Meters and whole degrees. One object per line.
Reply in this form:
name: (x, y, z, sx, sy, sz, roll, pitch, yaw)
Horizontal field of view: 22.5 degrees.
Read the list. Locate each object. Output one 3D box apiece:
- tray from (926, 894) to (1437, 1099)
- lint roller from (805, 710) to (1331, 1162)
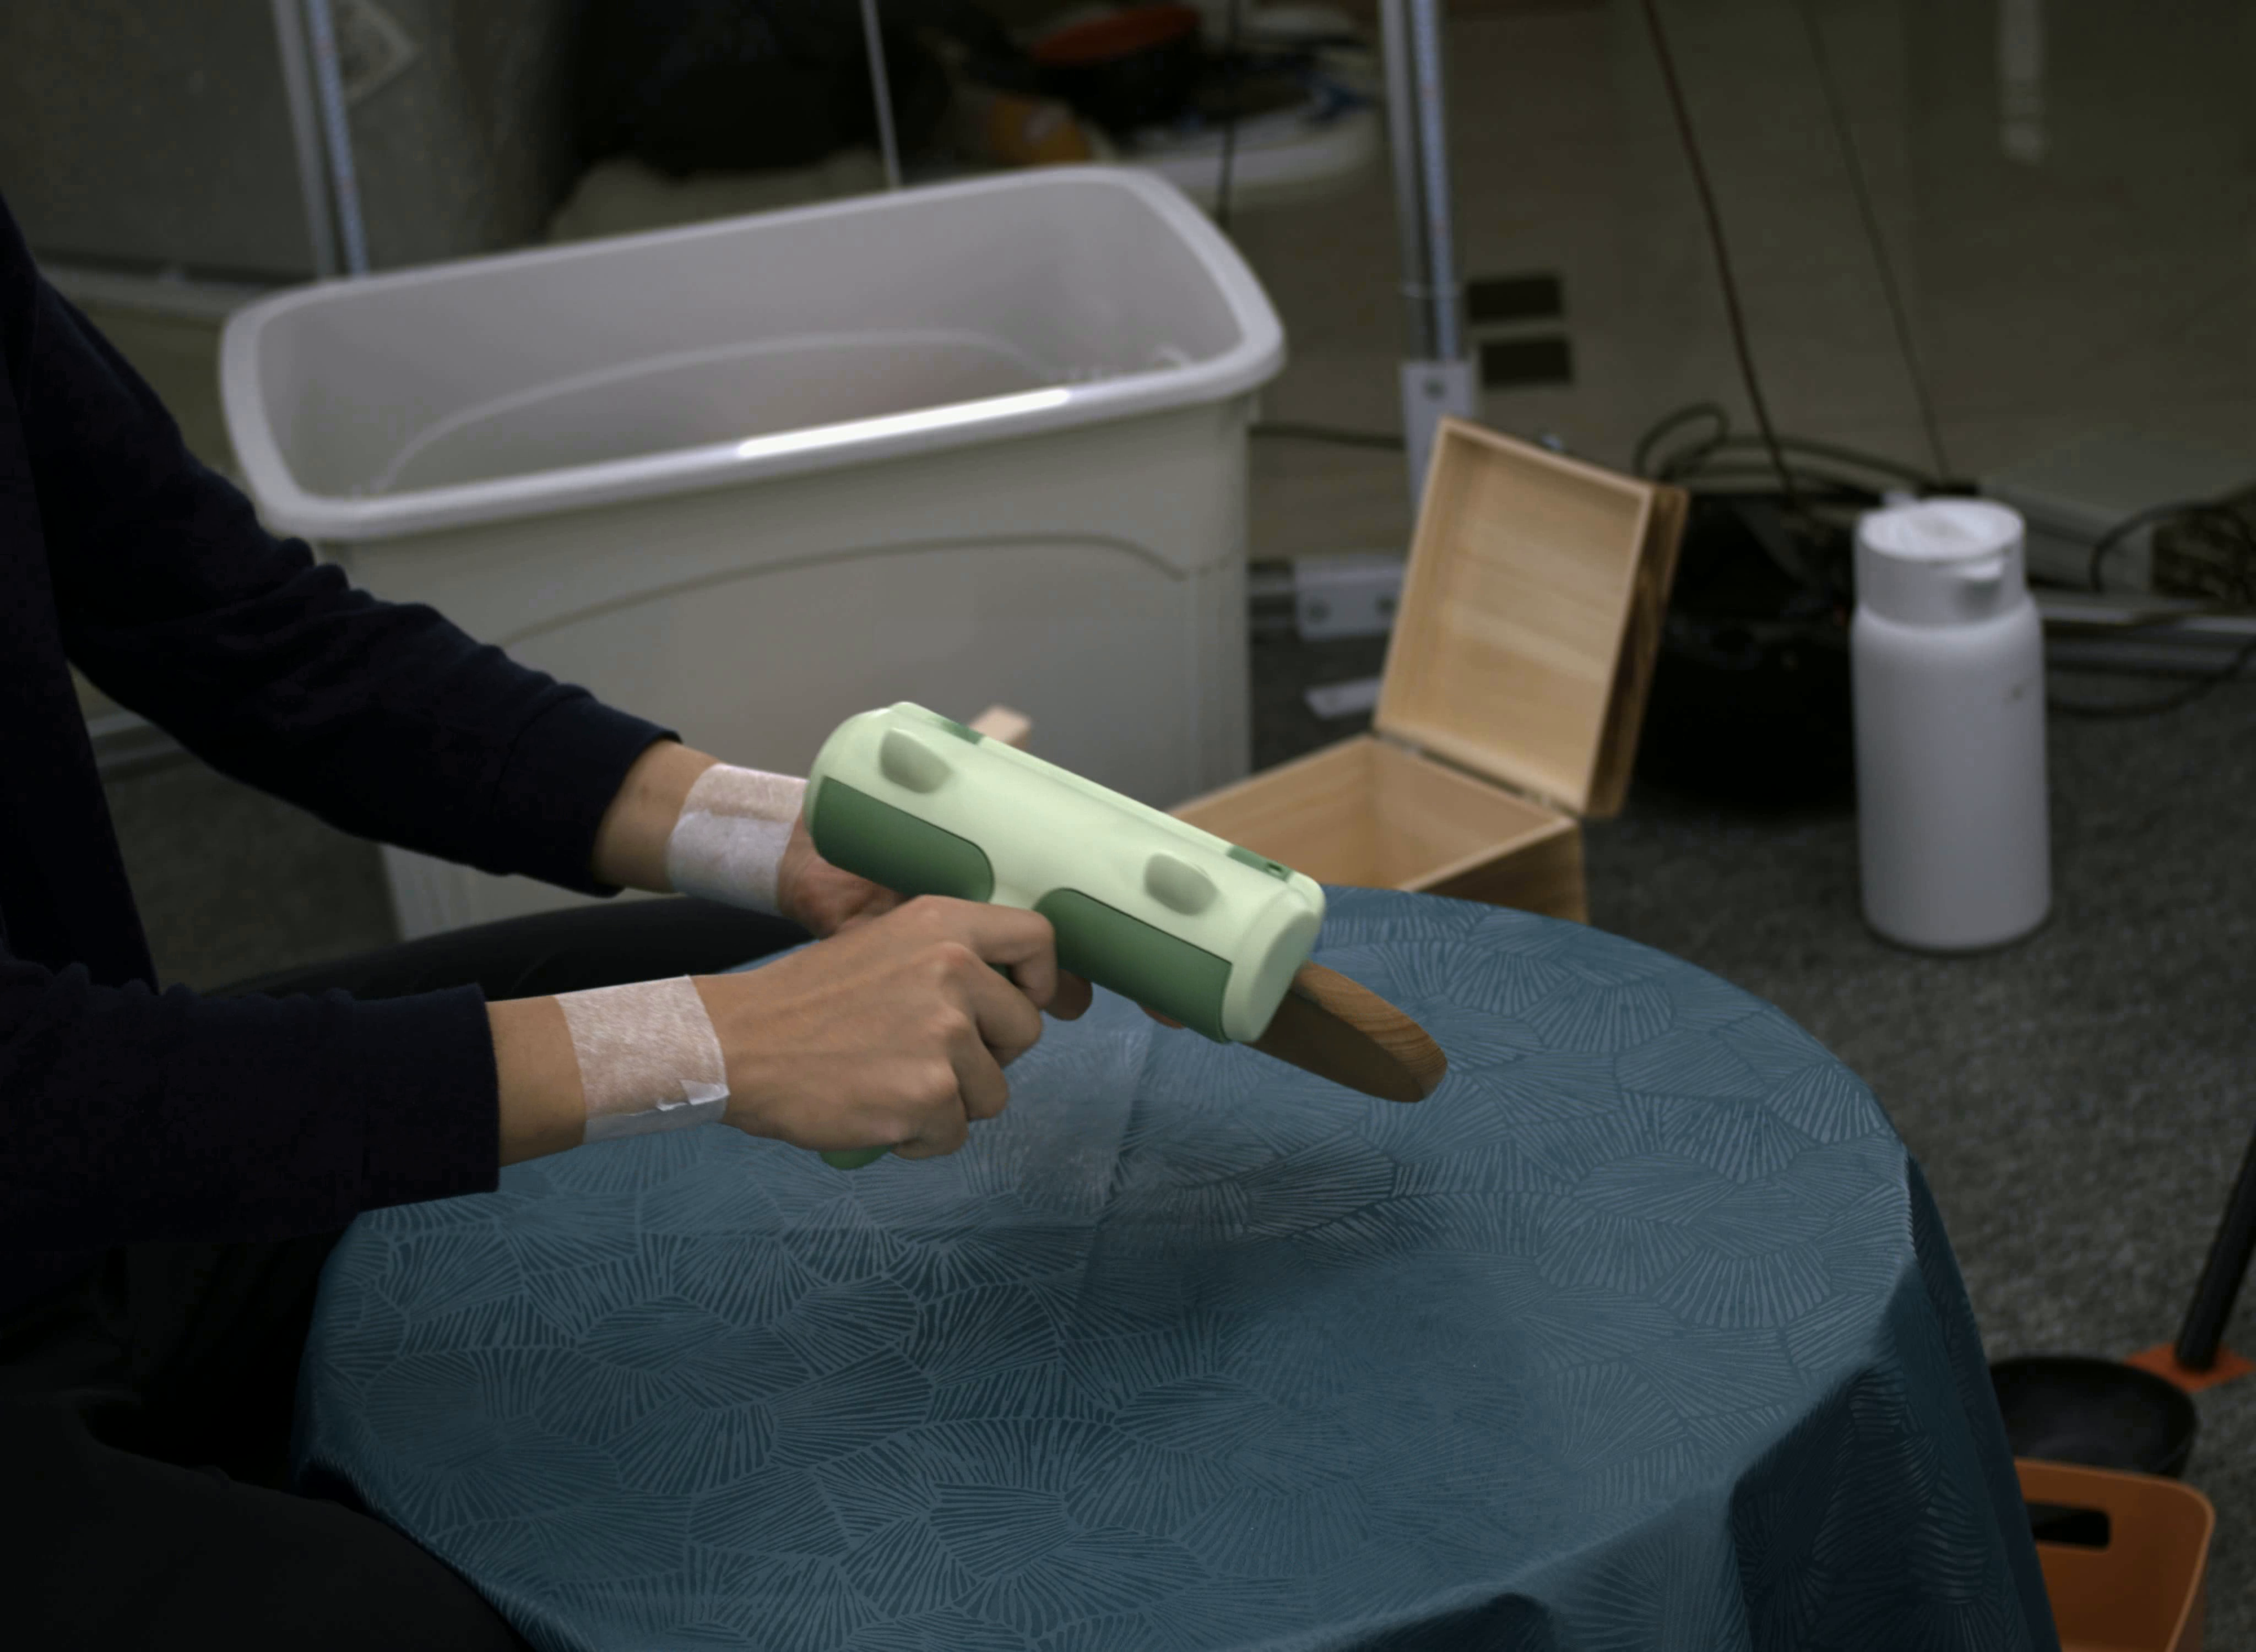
tray: (0.011, 0.048, 2.125, 0.230, 0.103, 0.020, 21, 73, 20)
lint roller: (-0.054, 0.042, 2.024, 0.197, 0.084, 0.181, 24, 46, 22)
